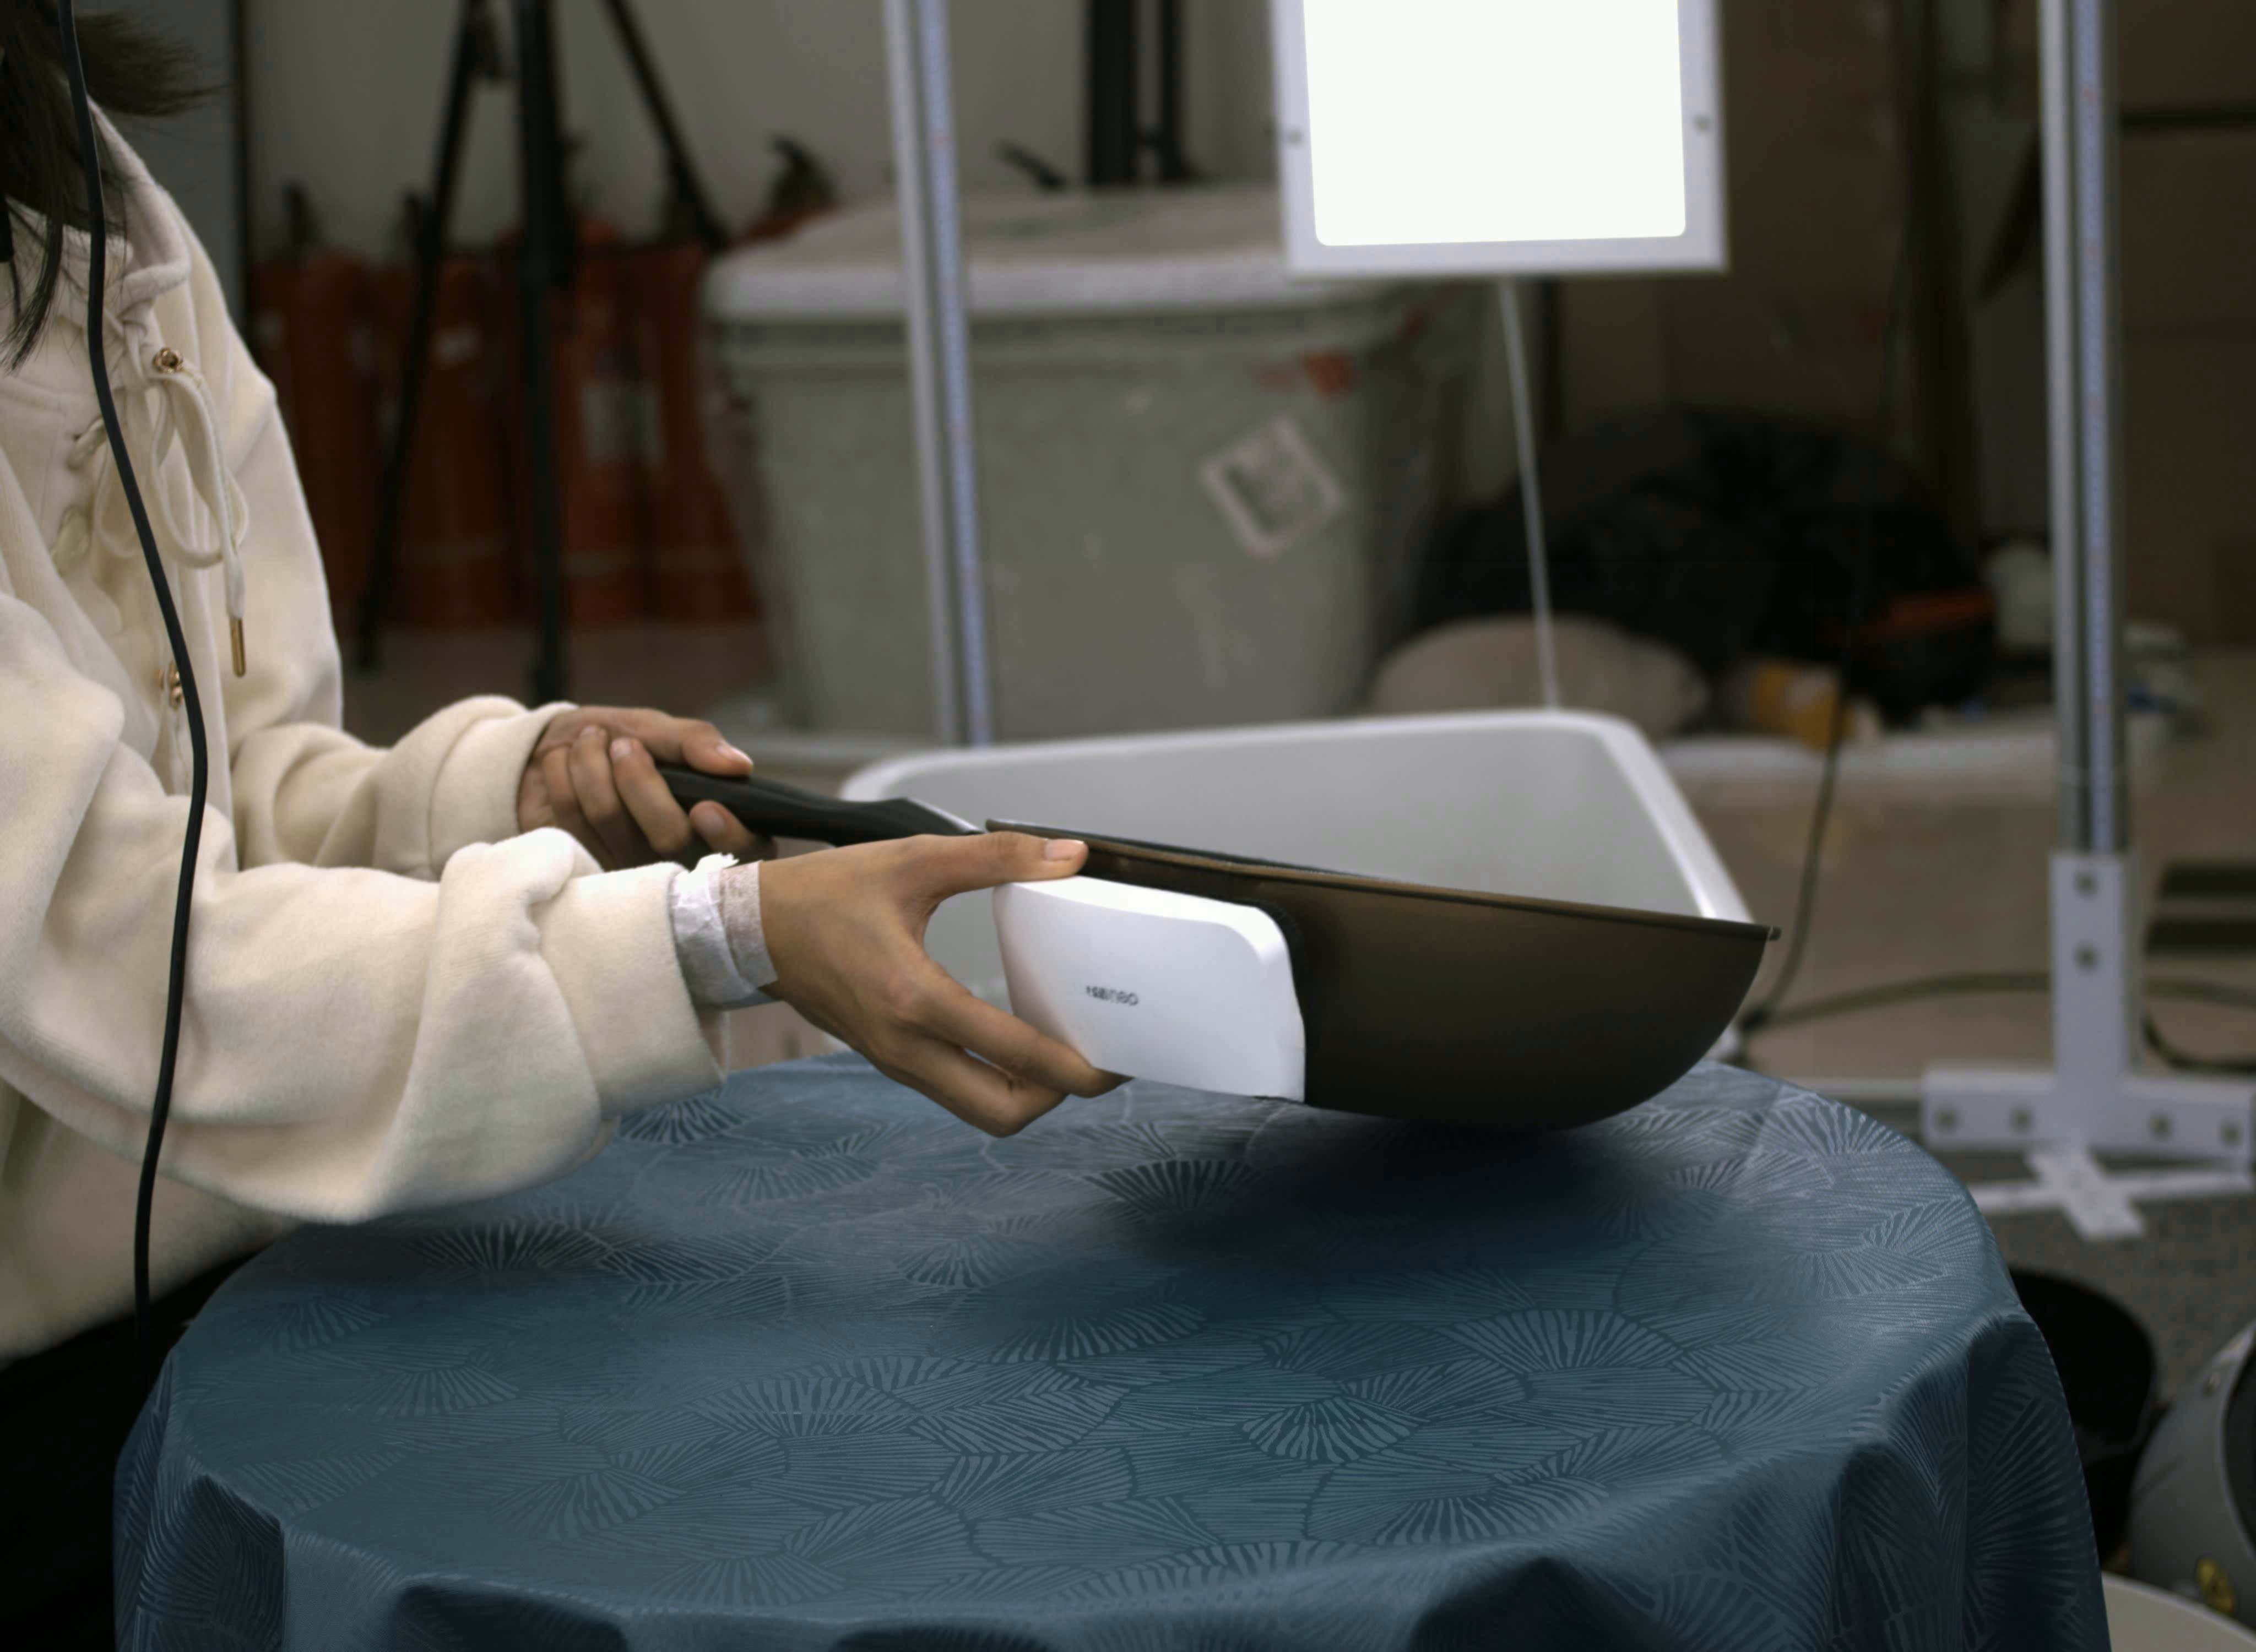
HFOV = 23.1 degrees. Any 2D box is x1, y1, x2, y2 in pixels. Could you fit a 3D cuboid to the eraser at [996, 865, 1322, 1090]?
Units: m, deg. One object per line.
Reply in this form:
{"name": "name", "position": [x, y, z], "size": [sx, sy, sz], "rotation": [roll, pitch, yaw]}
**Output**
{"name": "eraser", "position": [0.007, 0.046, 1.778], "size": [0.033, 0.063, 0.134], "rotation": [-21, 19, -38]}

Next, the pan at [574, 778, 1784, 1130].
{"name": "pan", "position": [0.001, 0.044, 1.938], "size": [0.471, 0.087, 0.283], "rotation": [7, -1, 26]}
